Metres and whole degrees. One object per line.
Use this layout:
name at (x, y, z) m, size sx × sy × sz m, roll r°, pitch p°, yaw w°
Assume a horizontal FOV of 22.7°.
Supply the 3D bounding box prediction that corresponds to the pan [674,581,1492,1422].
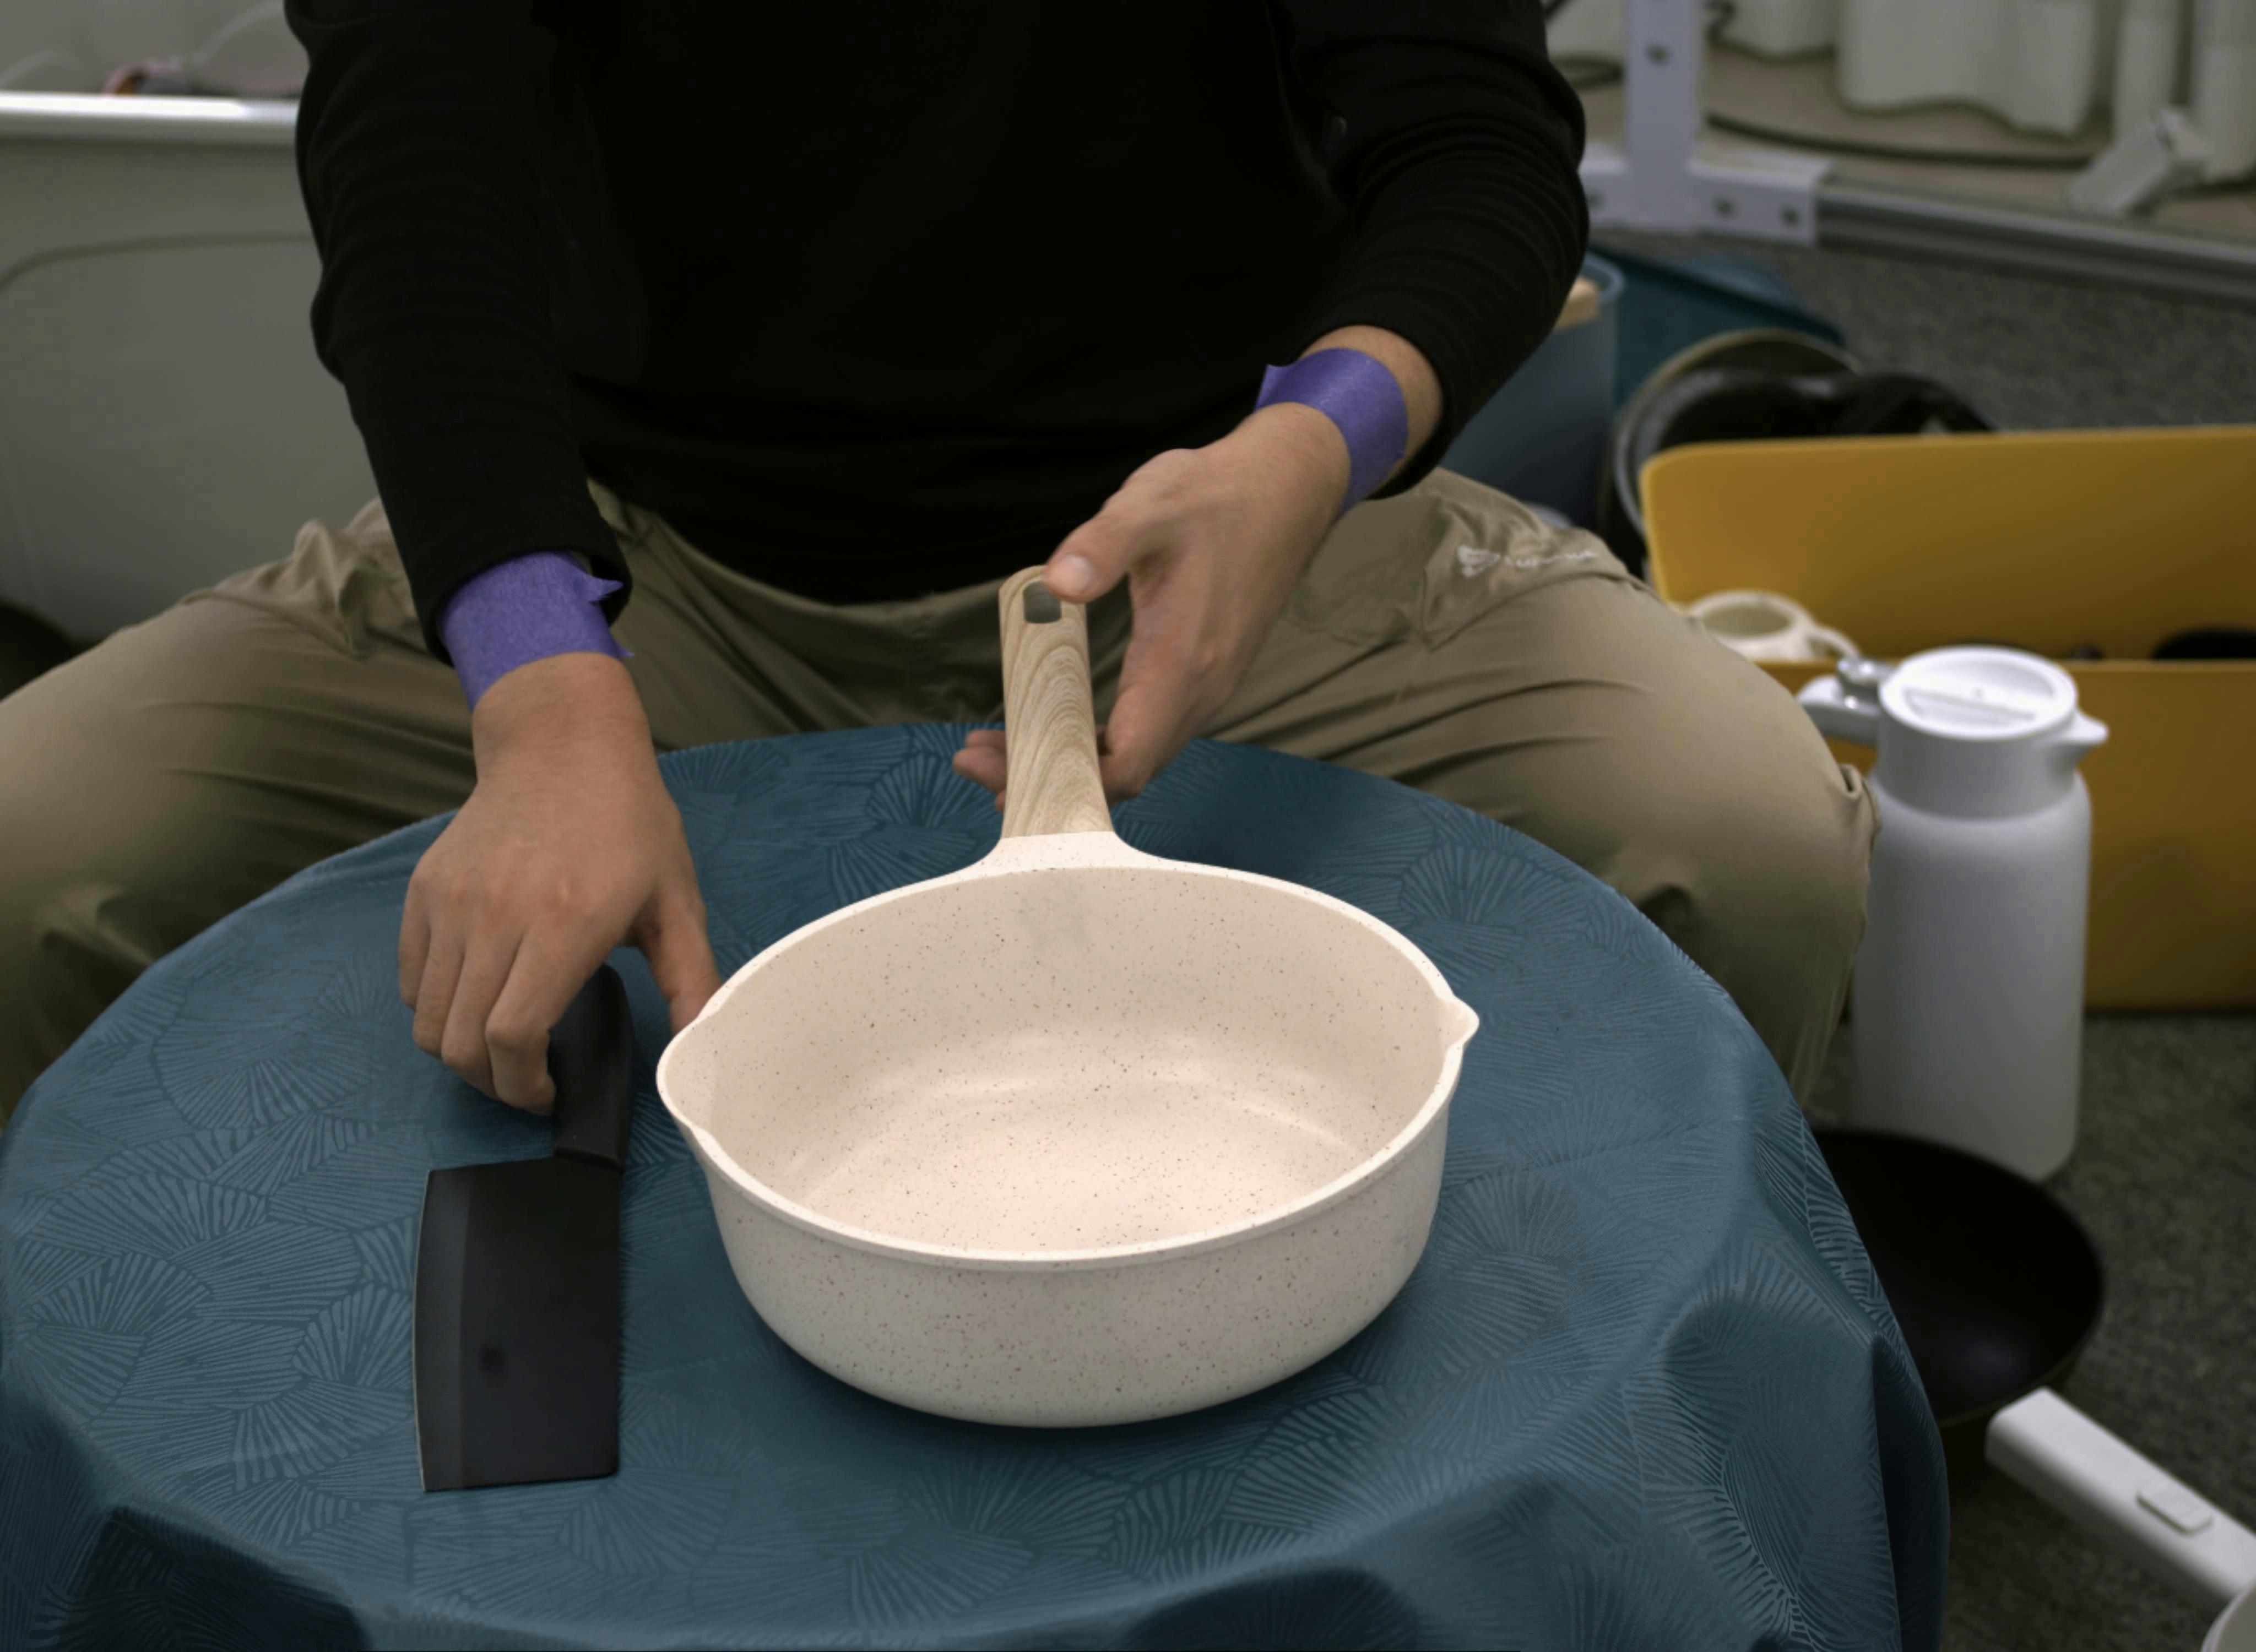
pan at (-0.017, 0.055, 1.884) m, size 0.262 × 0.101 × 0.441 m, roll -5°, pitch 27°, yaw -1°

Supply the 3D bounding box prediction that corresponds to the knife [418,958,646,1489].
knife at (-0.195, 0.128, 1.850) m, size 0.080 × 0.020 × 0.307 m, roll -2°, pitch 29°, yaw 2°
